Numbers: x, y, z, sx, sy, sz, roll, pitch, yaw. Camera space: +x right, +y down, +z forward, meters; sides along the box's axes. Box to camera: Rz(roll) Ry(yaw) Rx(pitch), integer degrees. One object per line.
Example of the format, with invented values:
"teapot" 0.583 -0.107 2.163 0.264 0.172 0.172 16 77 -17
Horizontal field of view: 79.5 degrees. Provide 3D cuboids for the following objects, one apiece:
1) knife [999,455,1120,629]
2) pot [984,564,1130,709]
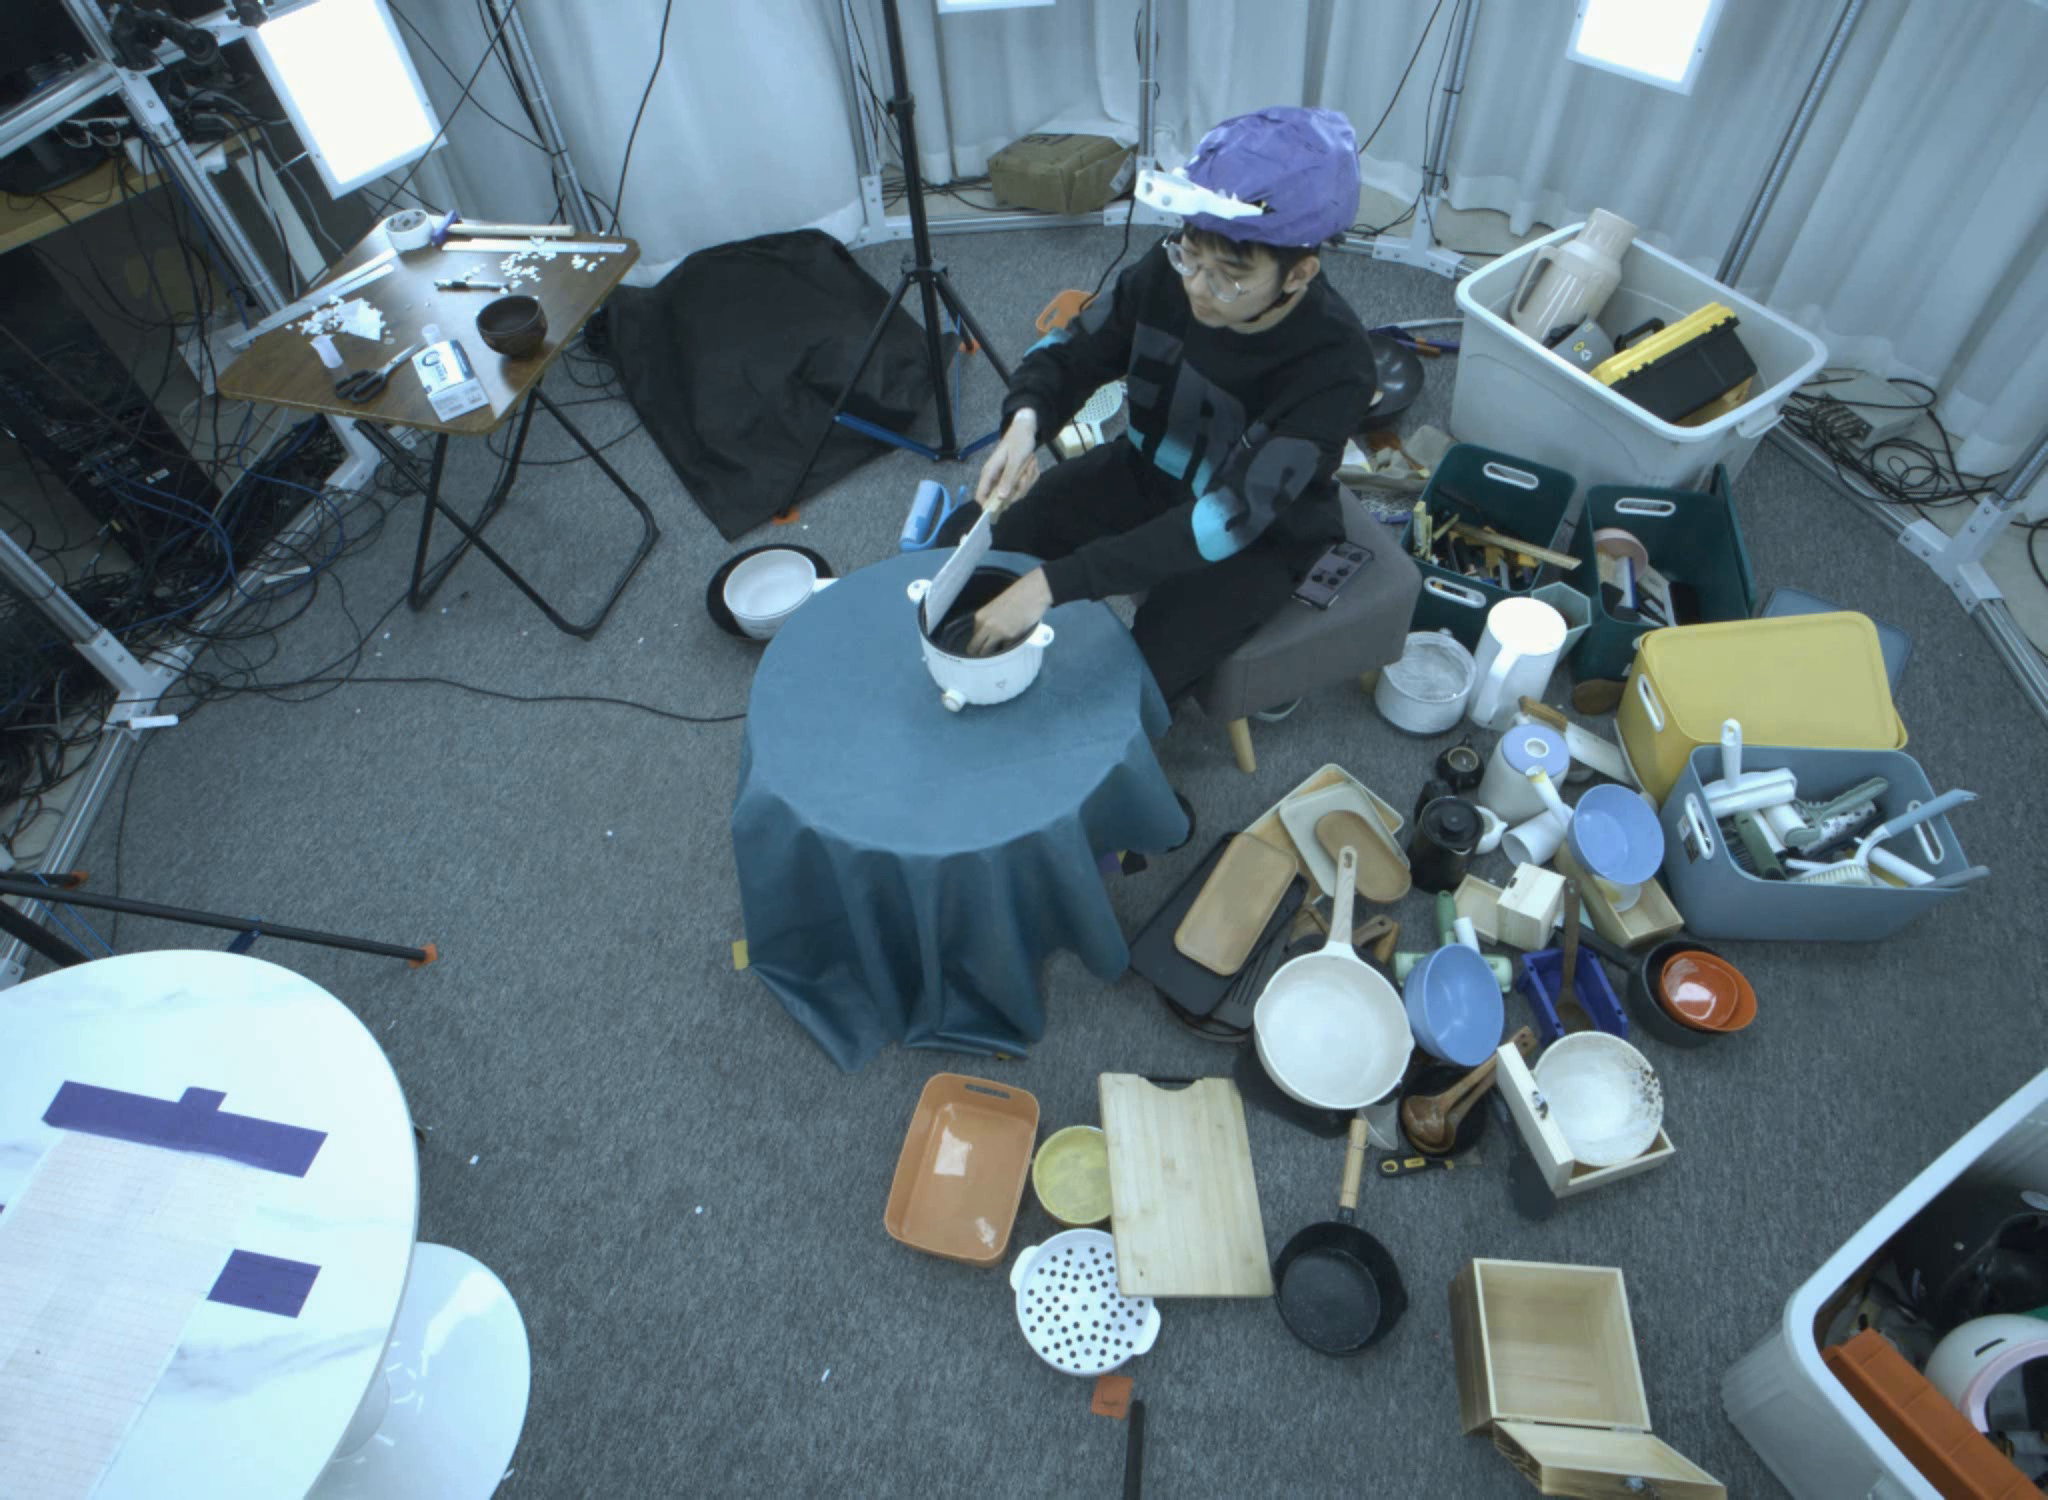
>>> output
"knife" 0.048 -0.308 1.759 0.021 0.115 0.316 29 71 15
"pot" 0.046 -0.159 1.812 0.237 0.144 0.191 26 57 21
